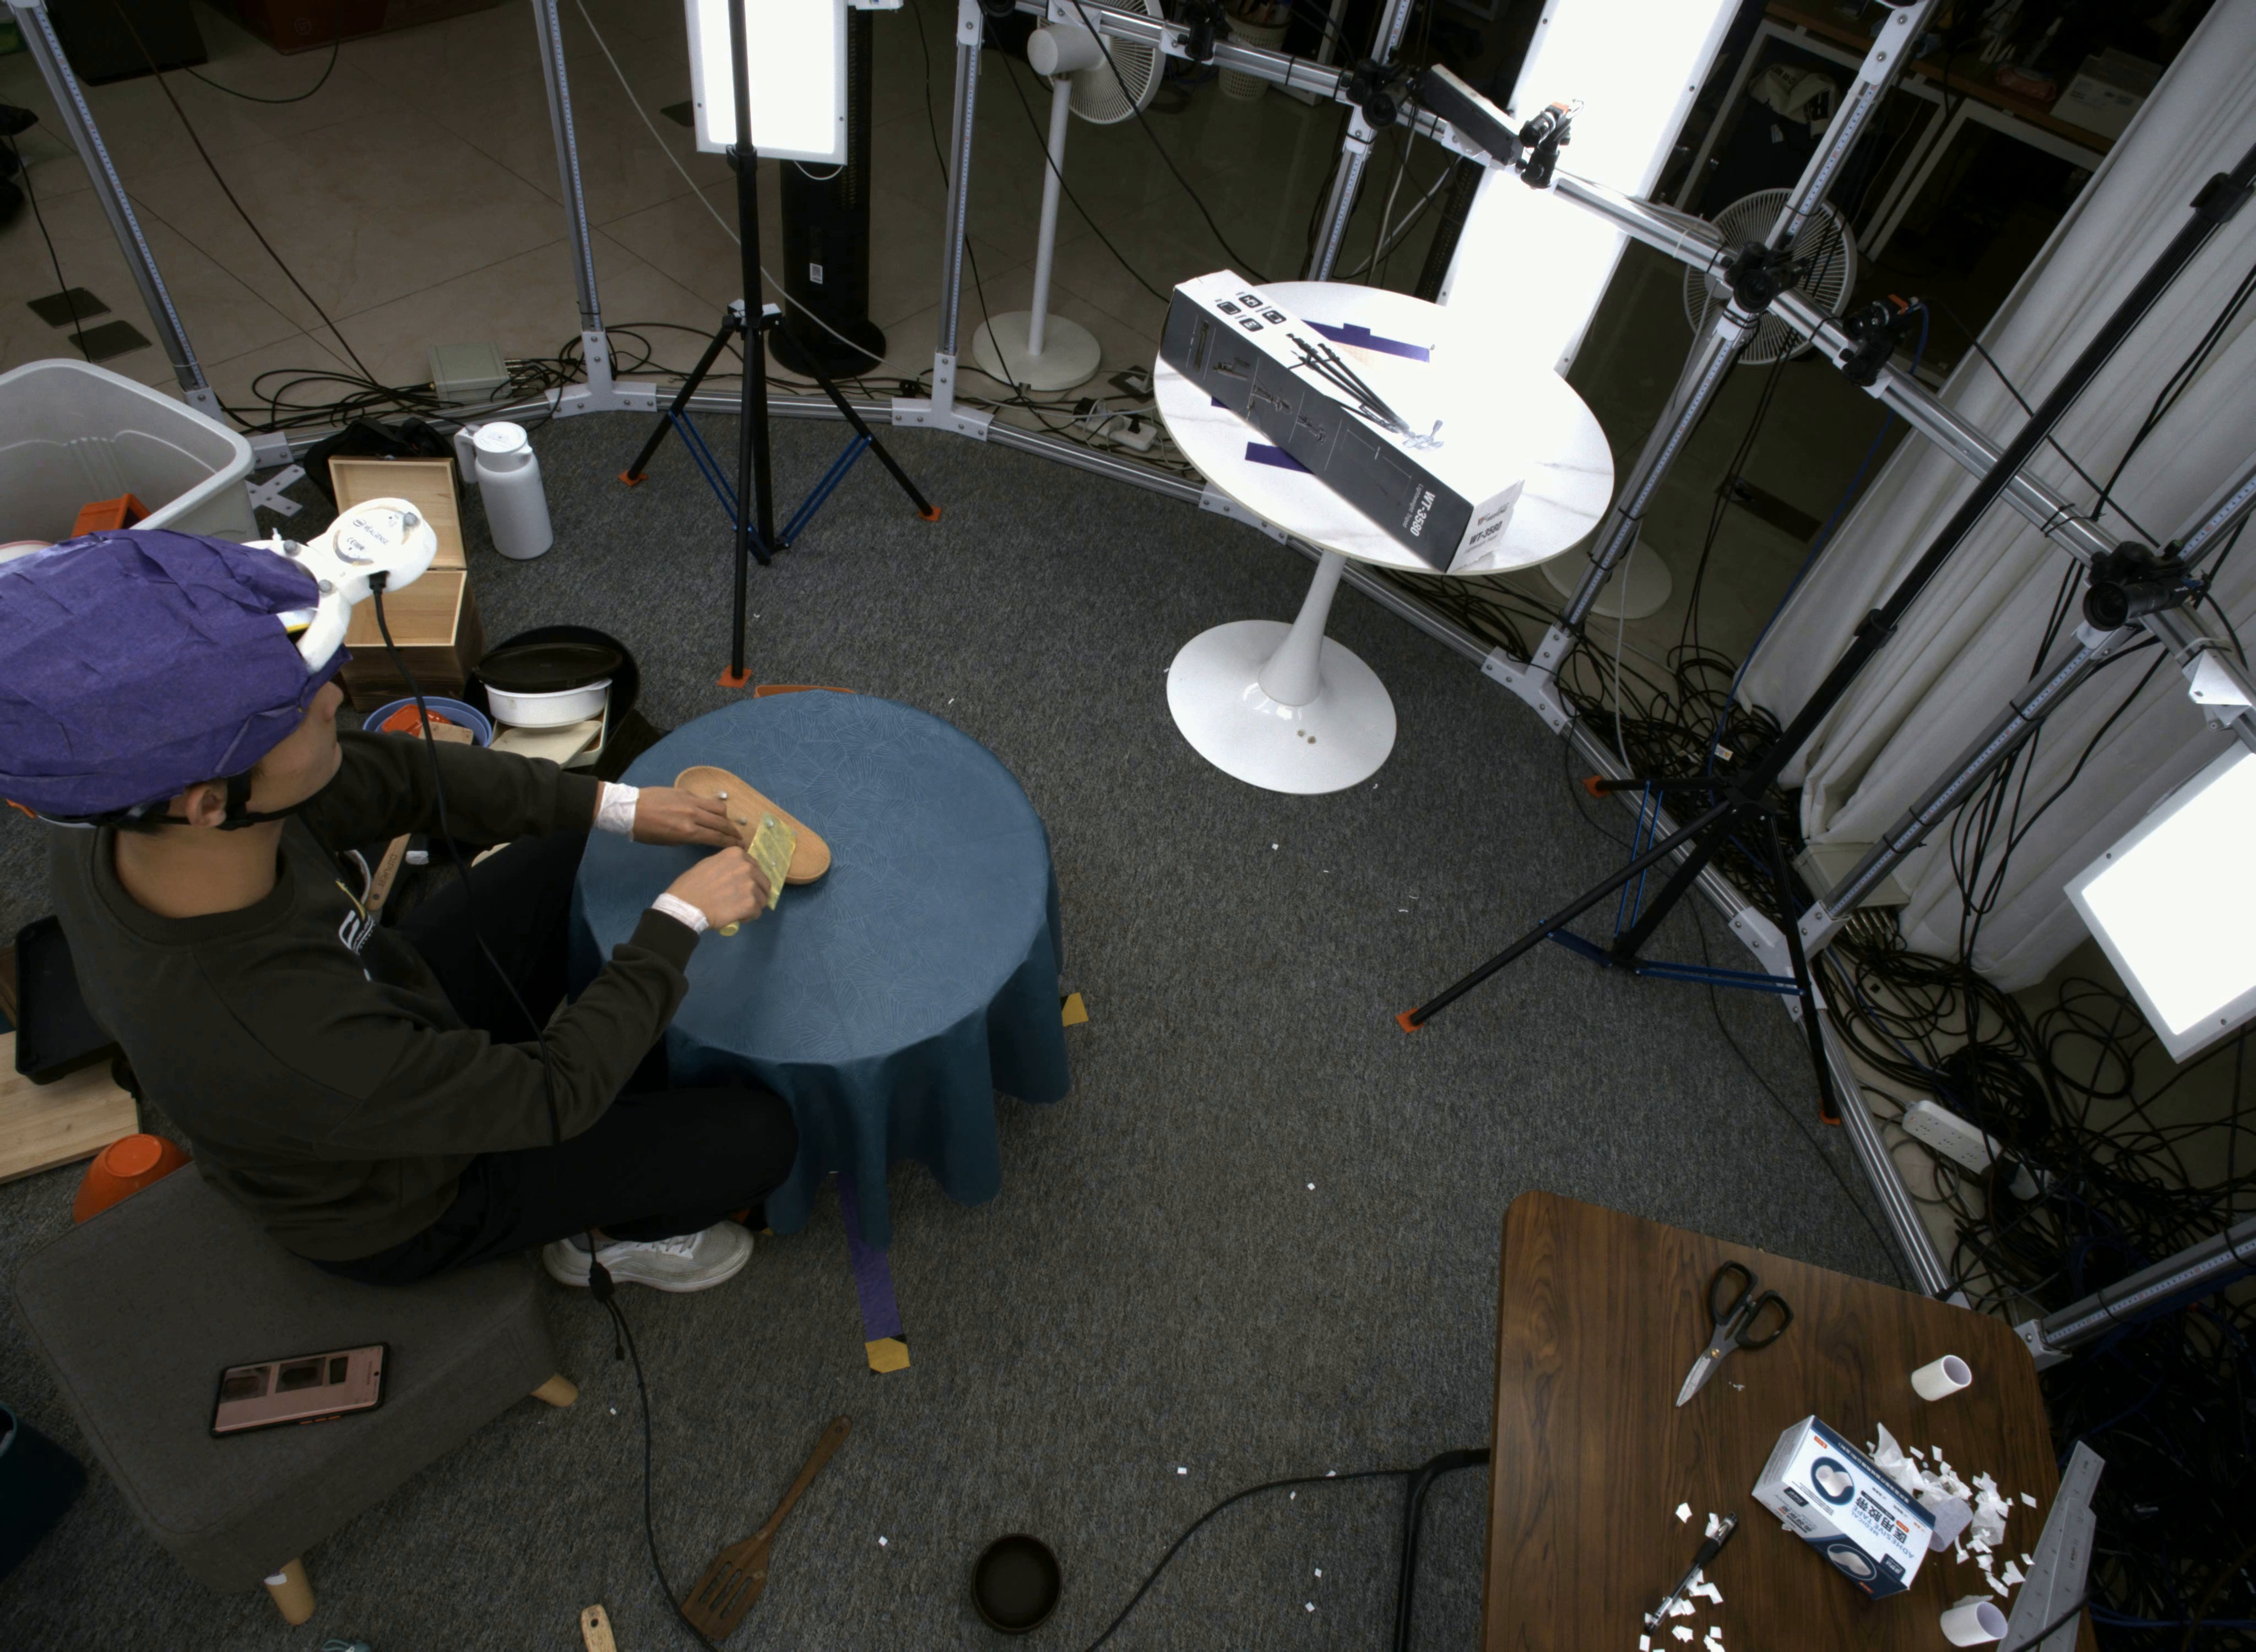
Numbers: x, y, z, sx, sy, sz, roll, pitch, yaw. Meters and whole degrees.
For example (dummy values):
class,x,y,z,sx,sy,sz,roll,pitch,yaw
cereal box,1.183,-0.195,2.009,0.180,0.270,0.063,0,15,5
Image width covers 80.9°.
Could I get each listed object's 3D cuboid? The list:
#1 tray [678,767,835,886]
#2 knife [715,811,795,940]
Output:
class,x,y,z,sx,sy,sz,roll,pitch,yaw
tray,-0.484,-0.001,1.682,0.230,0.020,0.101,36,38,1
knife,-0.445,0.060,1.566,0.027,0.084,0.284,-22,25,12
